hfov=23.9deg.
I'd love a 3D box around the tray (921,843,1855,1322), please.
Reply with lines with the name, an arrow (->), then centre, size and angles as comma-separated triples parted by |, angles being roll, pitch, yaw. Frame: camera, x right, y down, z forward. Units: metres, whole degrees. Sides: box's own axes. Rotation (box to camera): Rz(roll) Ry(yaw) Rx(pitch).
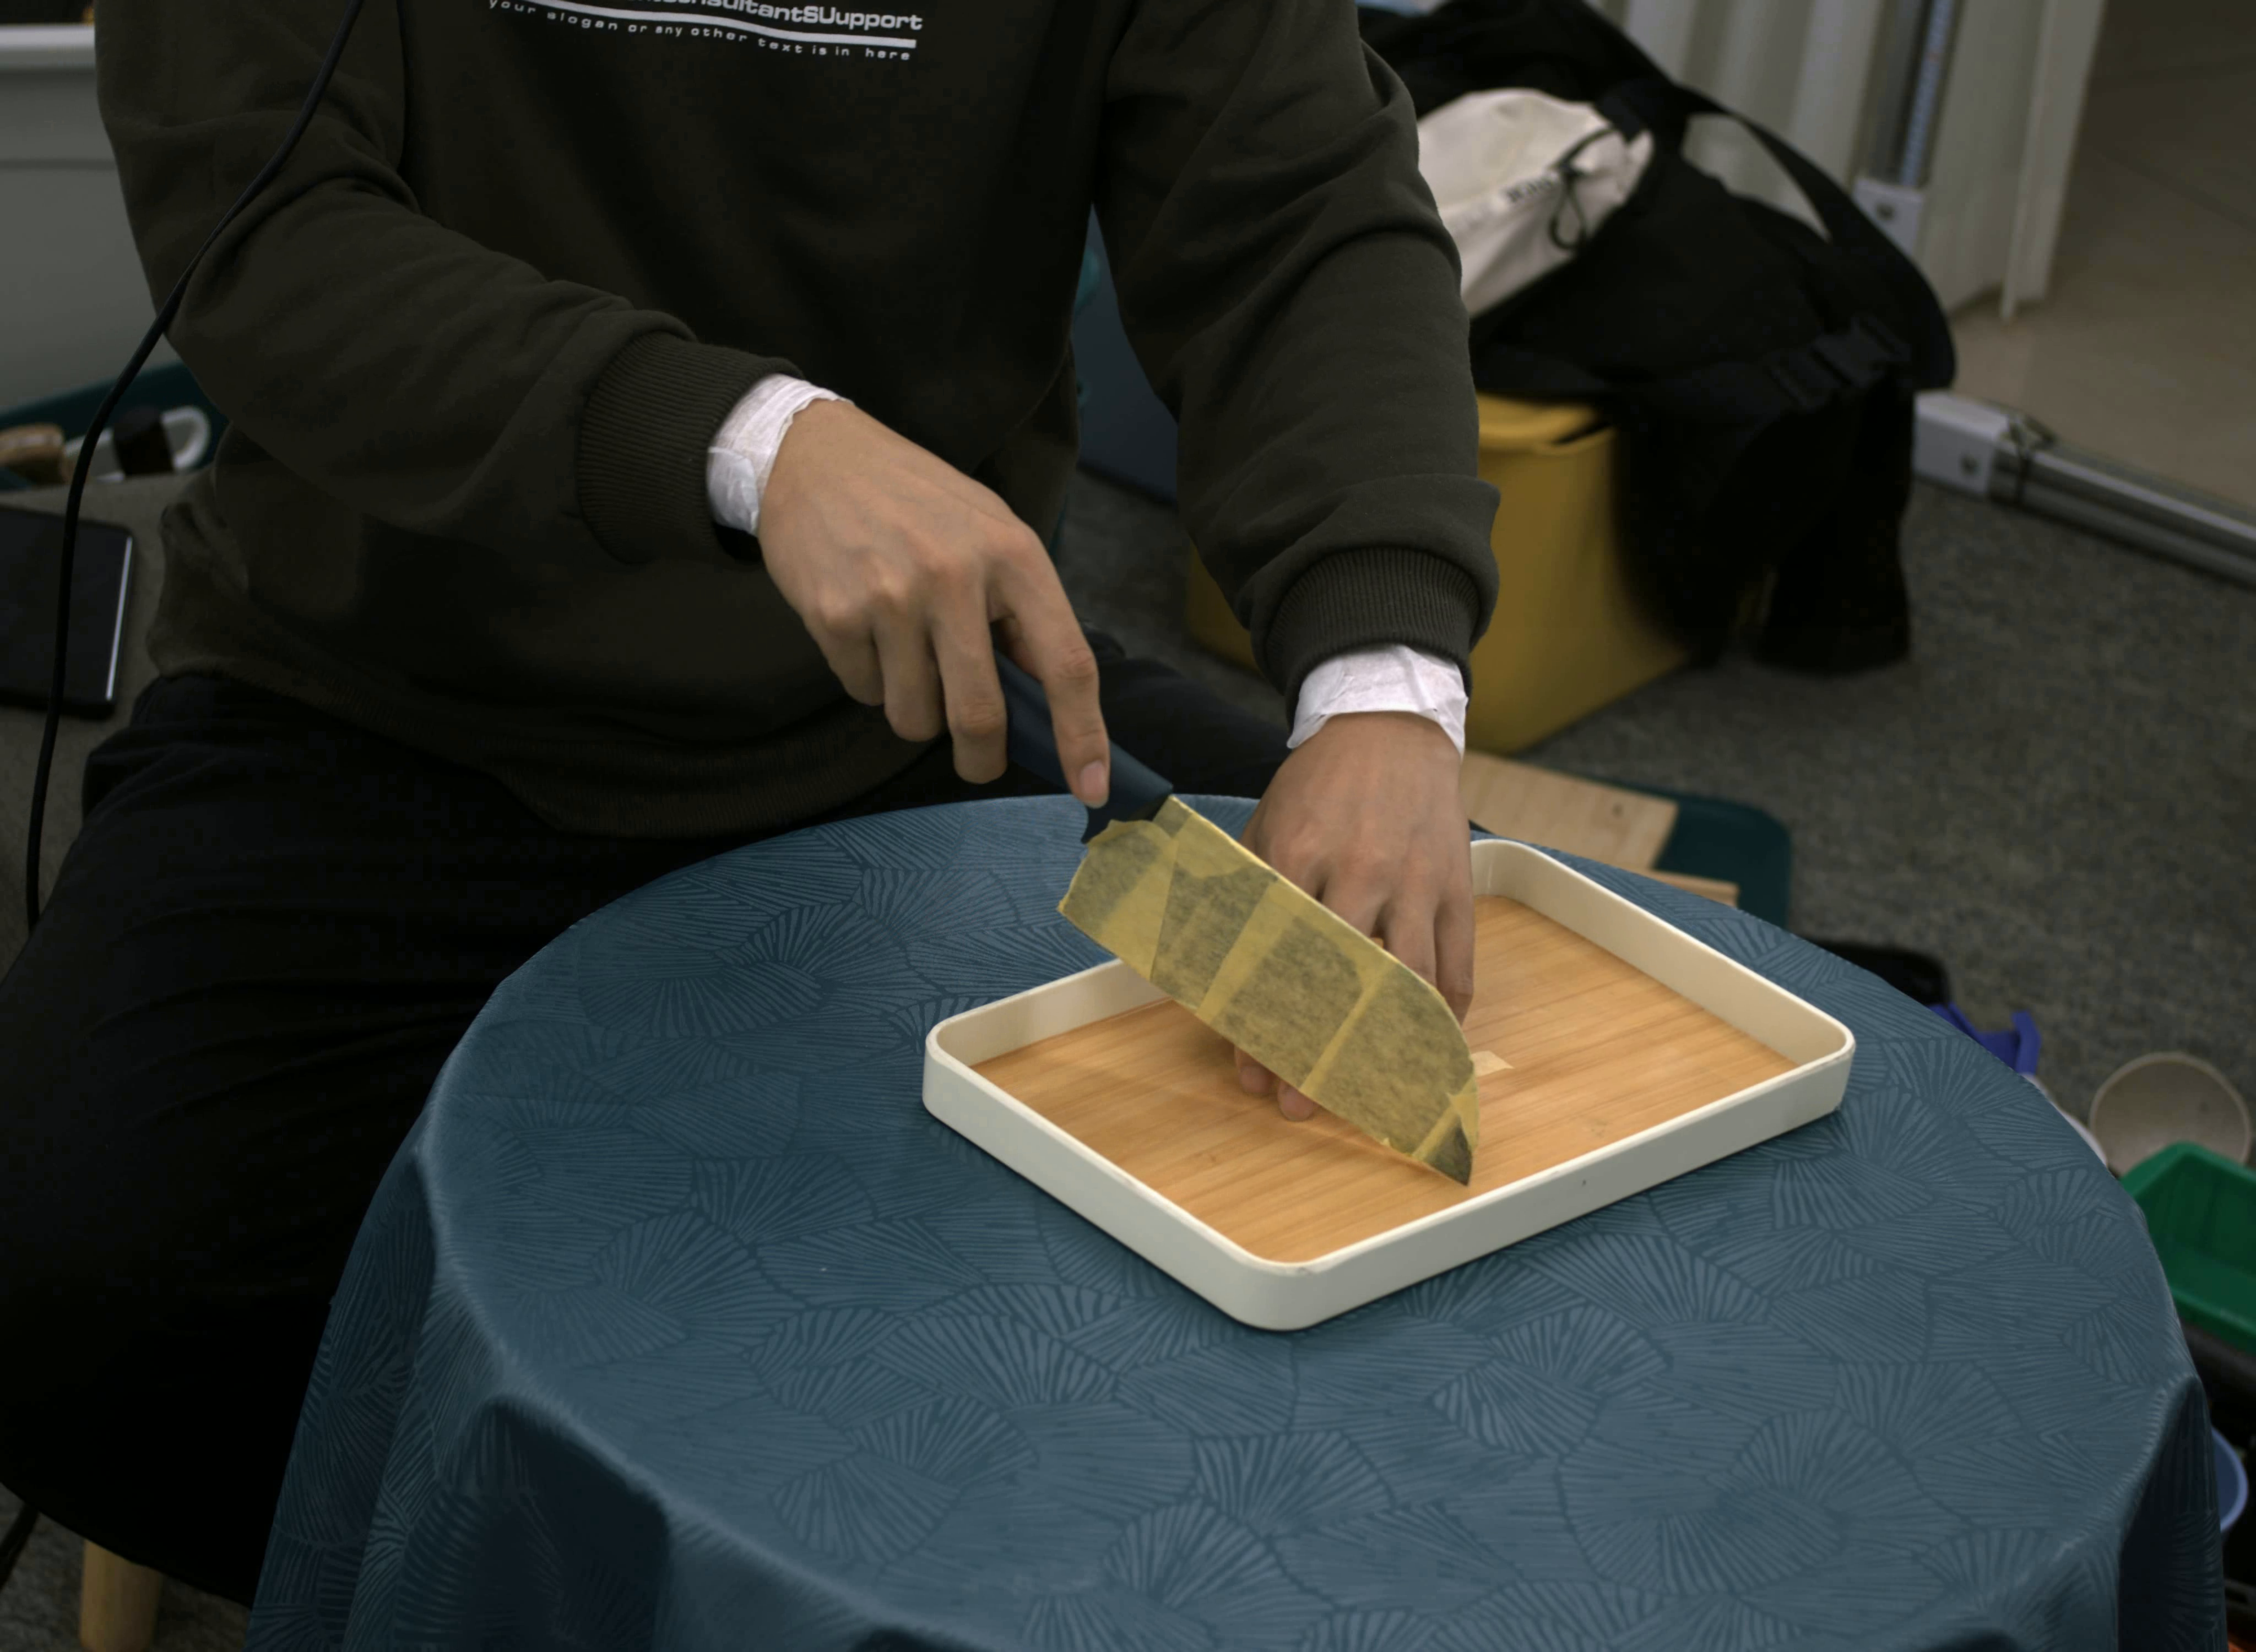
tray -> 0.093, 0.085, 1.873 | 0.298, 0.027, 0.193 | -17, 34, -39

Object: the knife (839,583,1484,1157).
knife -> 0.009, 0.017, 1.829 | 0.290, 0.081, 0.027 | 40, 37, 9
